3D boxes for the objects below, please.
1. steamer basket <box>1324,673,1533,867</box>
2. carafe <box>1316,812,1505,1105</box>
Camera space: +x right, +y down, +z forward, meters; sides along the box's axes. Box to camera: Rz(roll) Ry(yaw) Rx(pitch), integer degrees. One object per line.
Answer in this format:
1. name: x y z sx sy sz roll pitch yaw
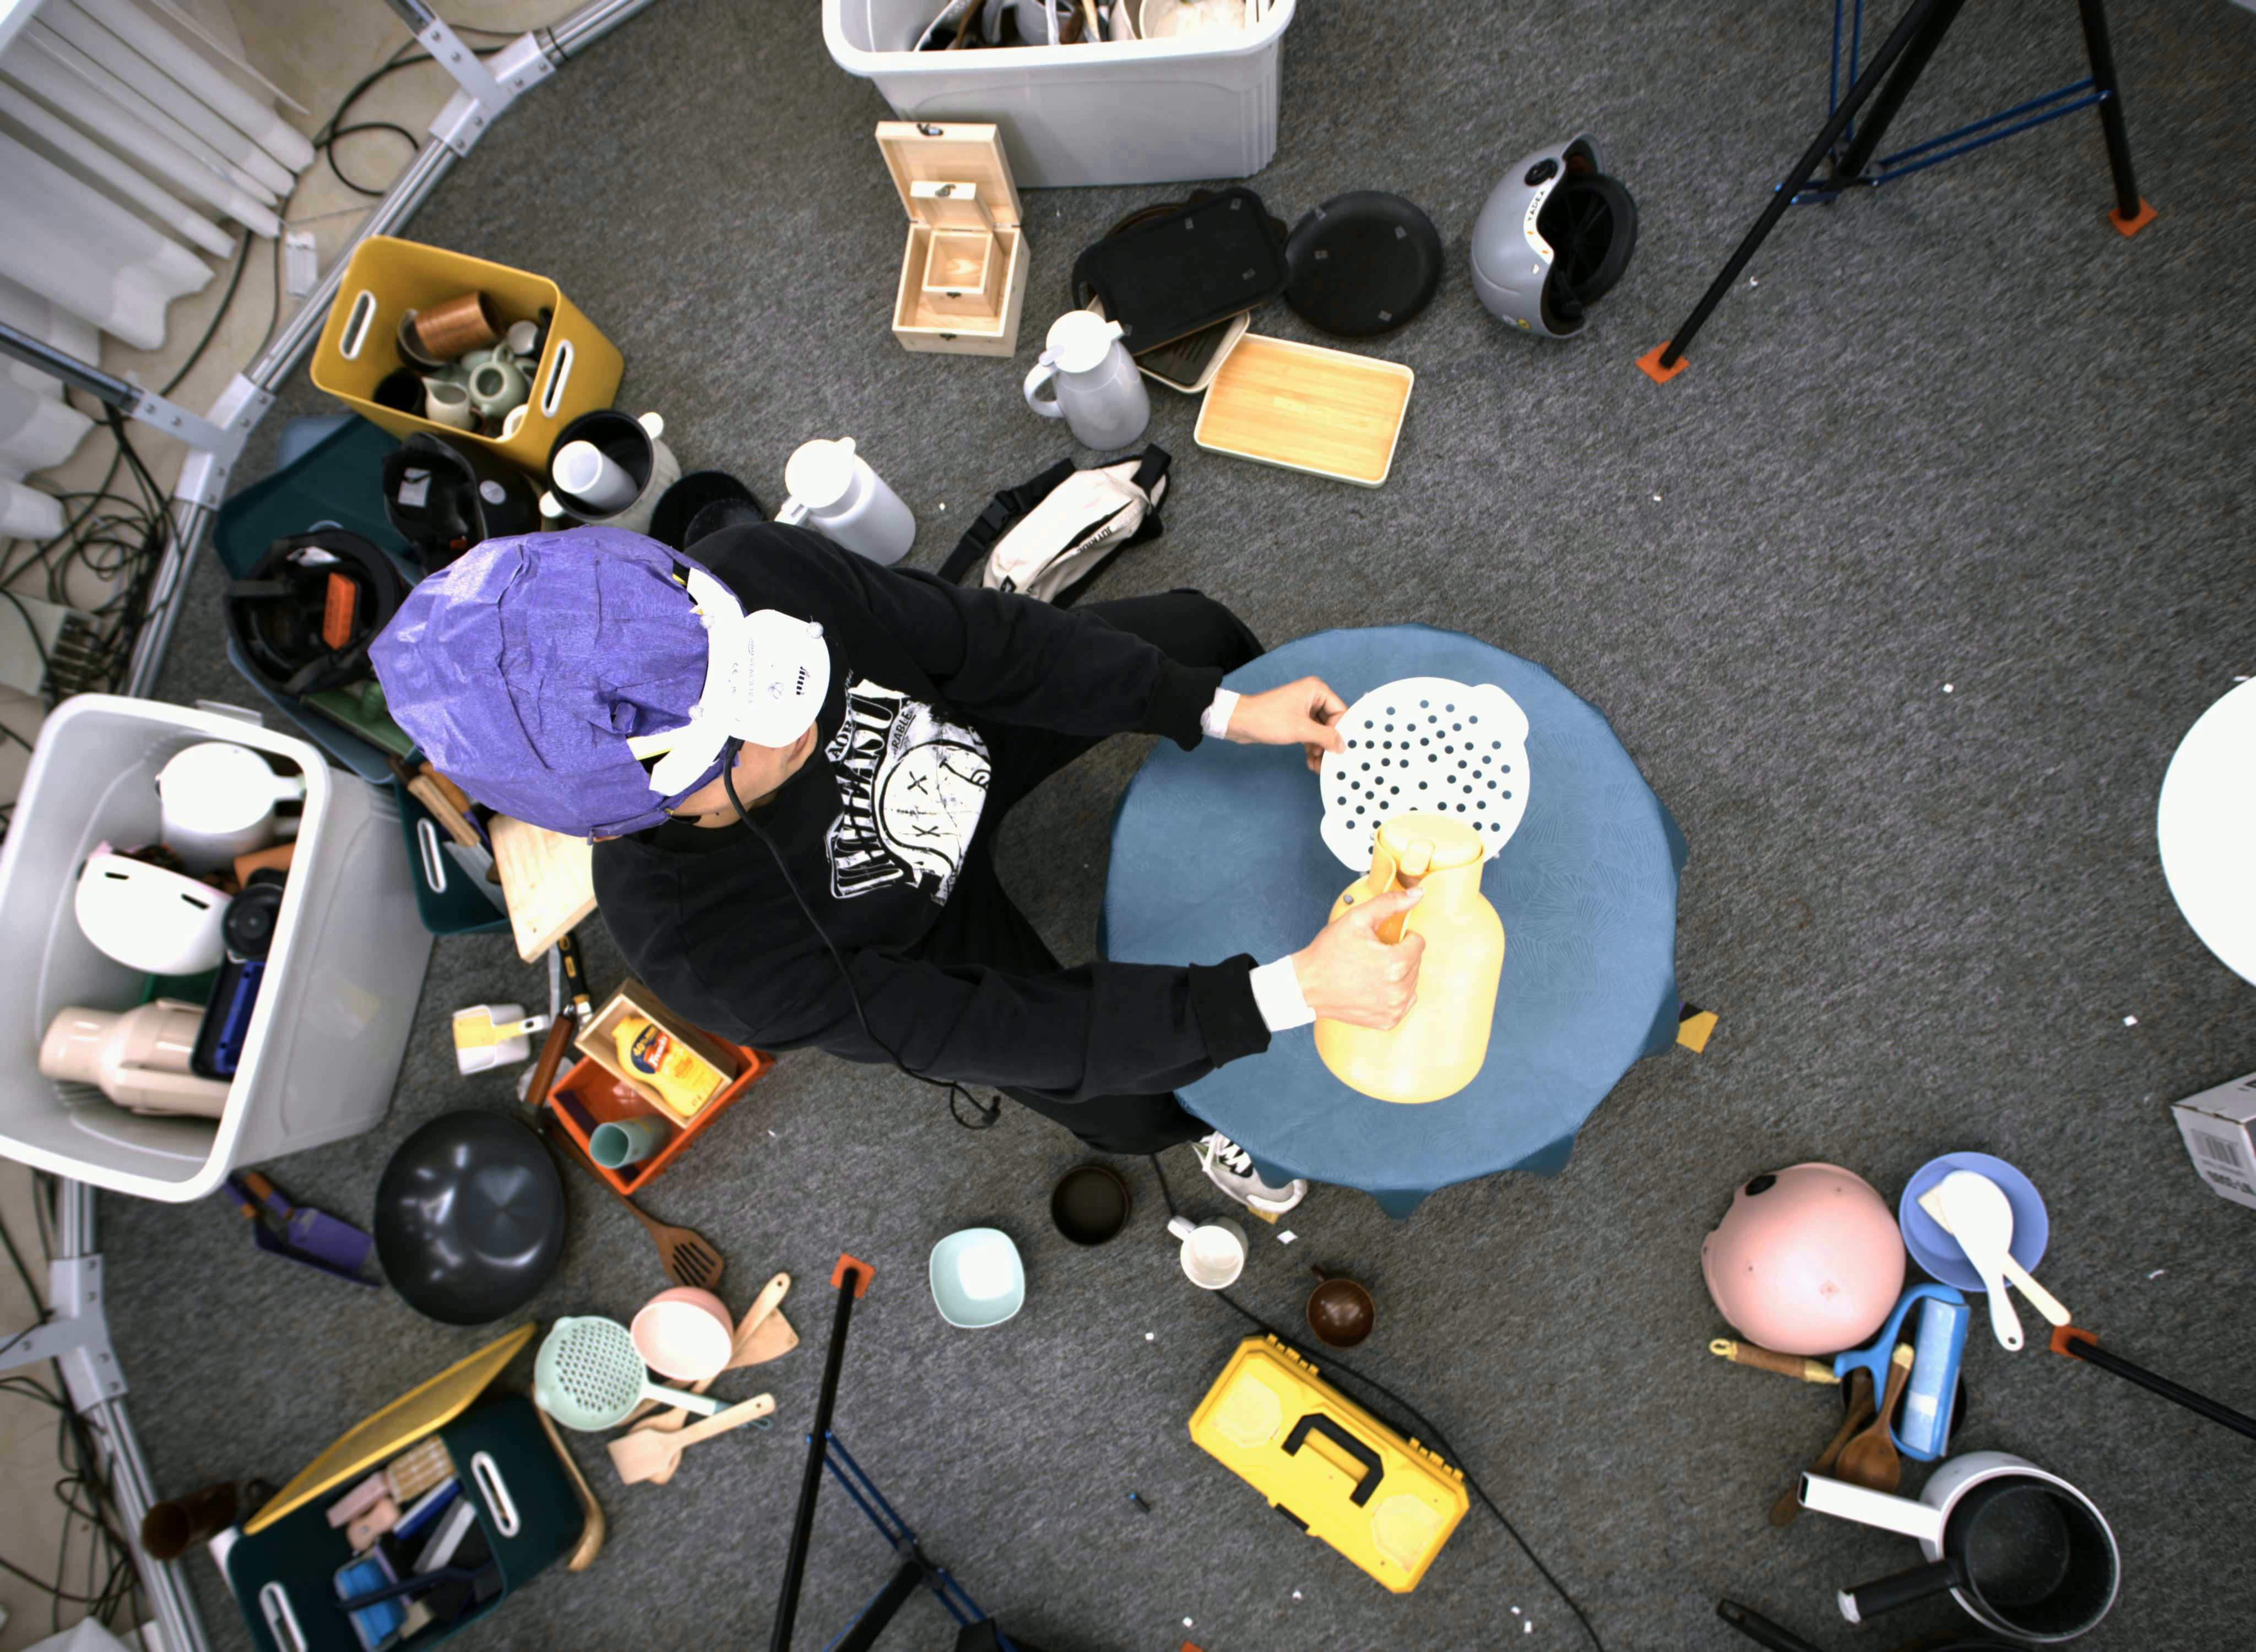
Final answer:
1. steamer basket: 0.299 -0.050 1.377 0.232 0.069 0.200 -41 79 6
2. carafe: 0.251 0.123 1.253 0.163 0.198 0.266 16 122 26
